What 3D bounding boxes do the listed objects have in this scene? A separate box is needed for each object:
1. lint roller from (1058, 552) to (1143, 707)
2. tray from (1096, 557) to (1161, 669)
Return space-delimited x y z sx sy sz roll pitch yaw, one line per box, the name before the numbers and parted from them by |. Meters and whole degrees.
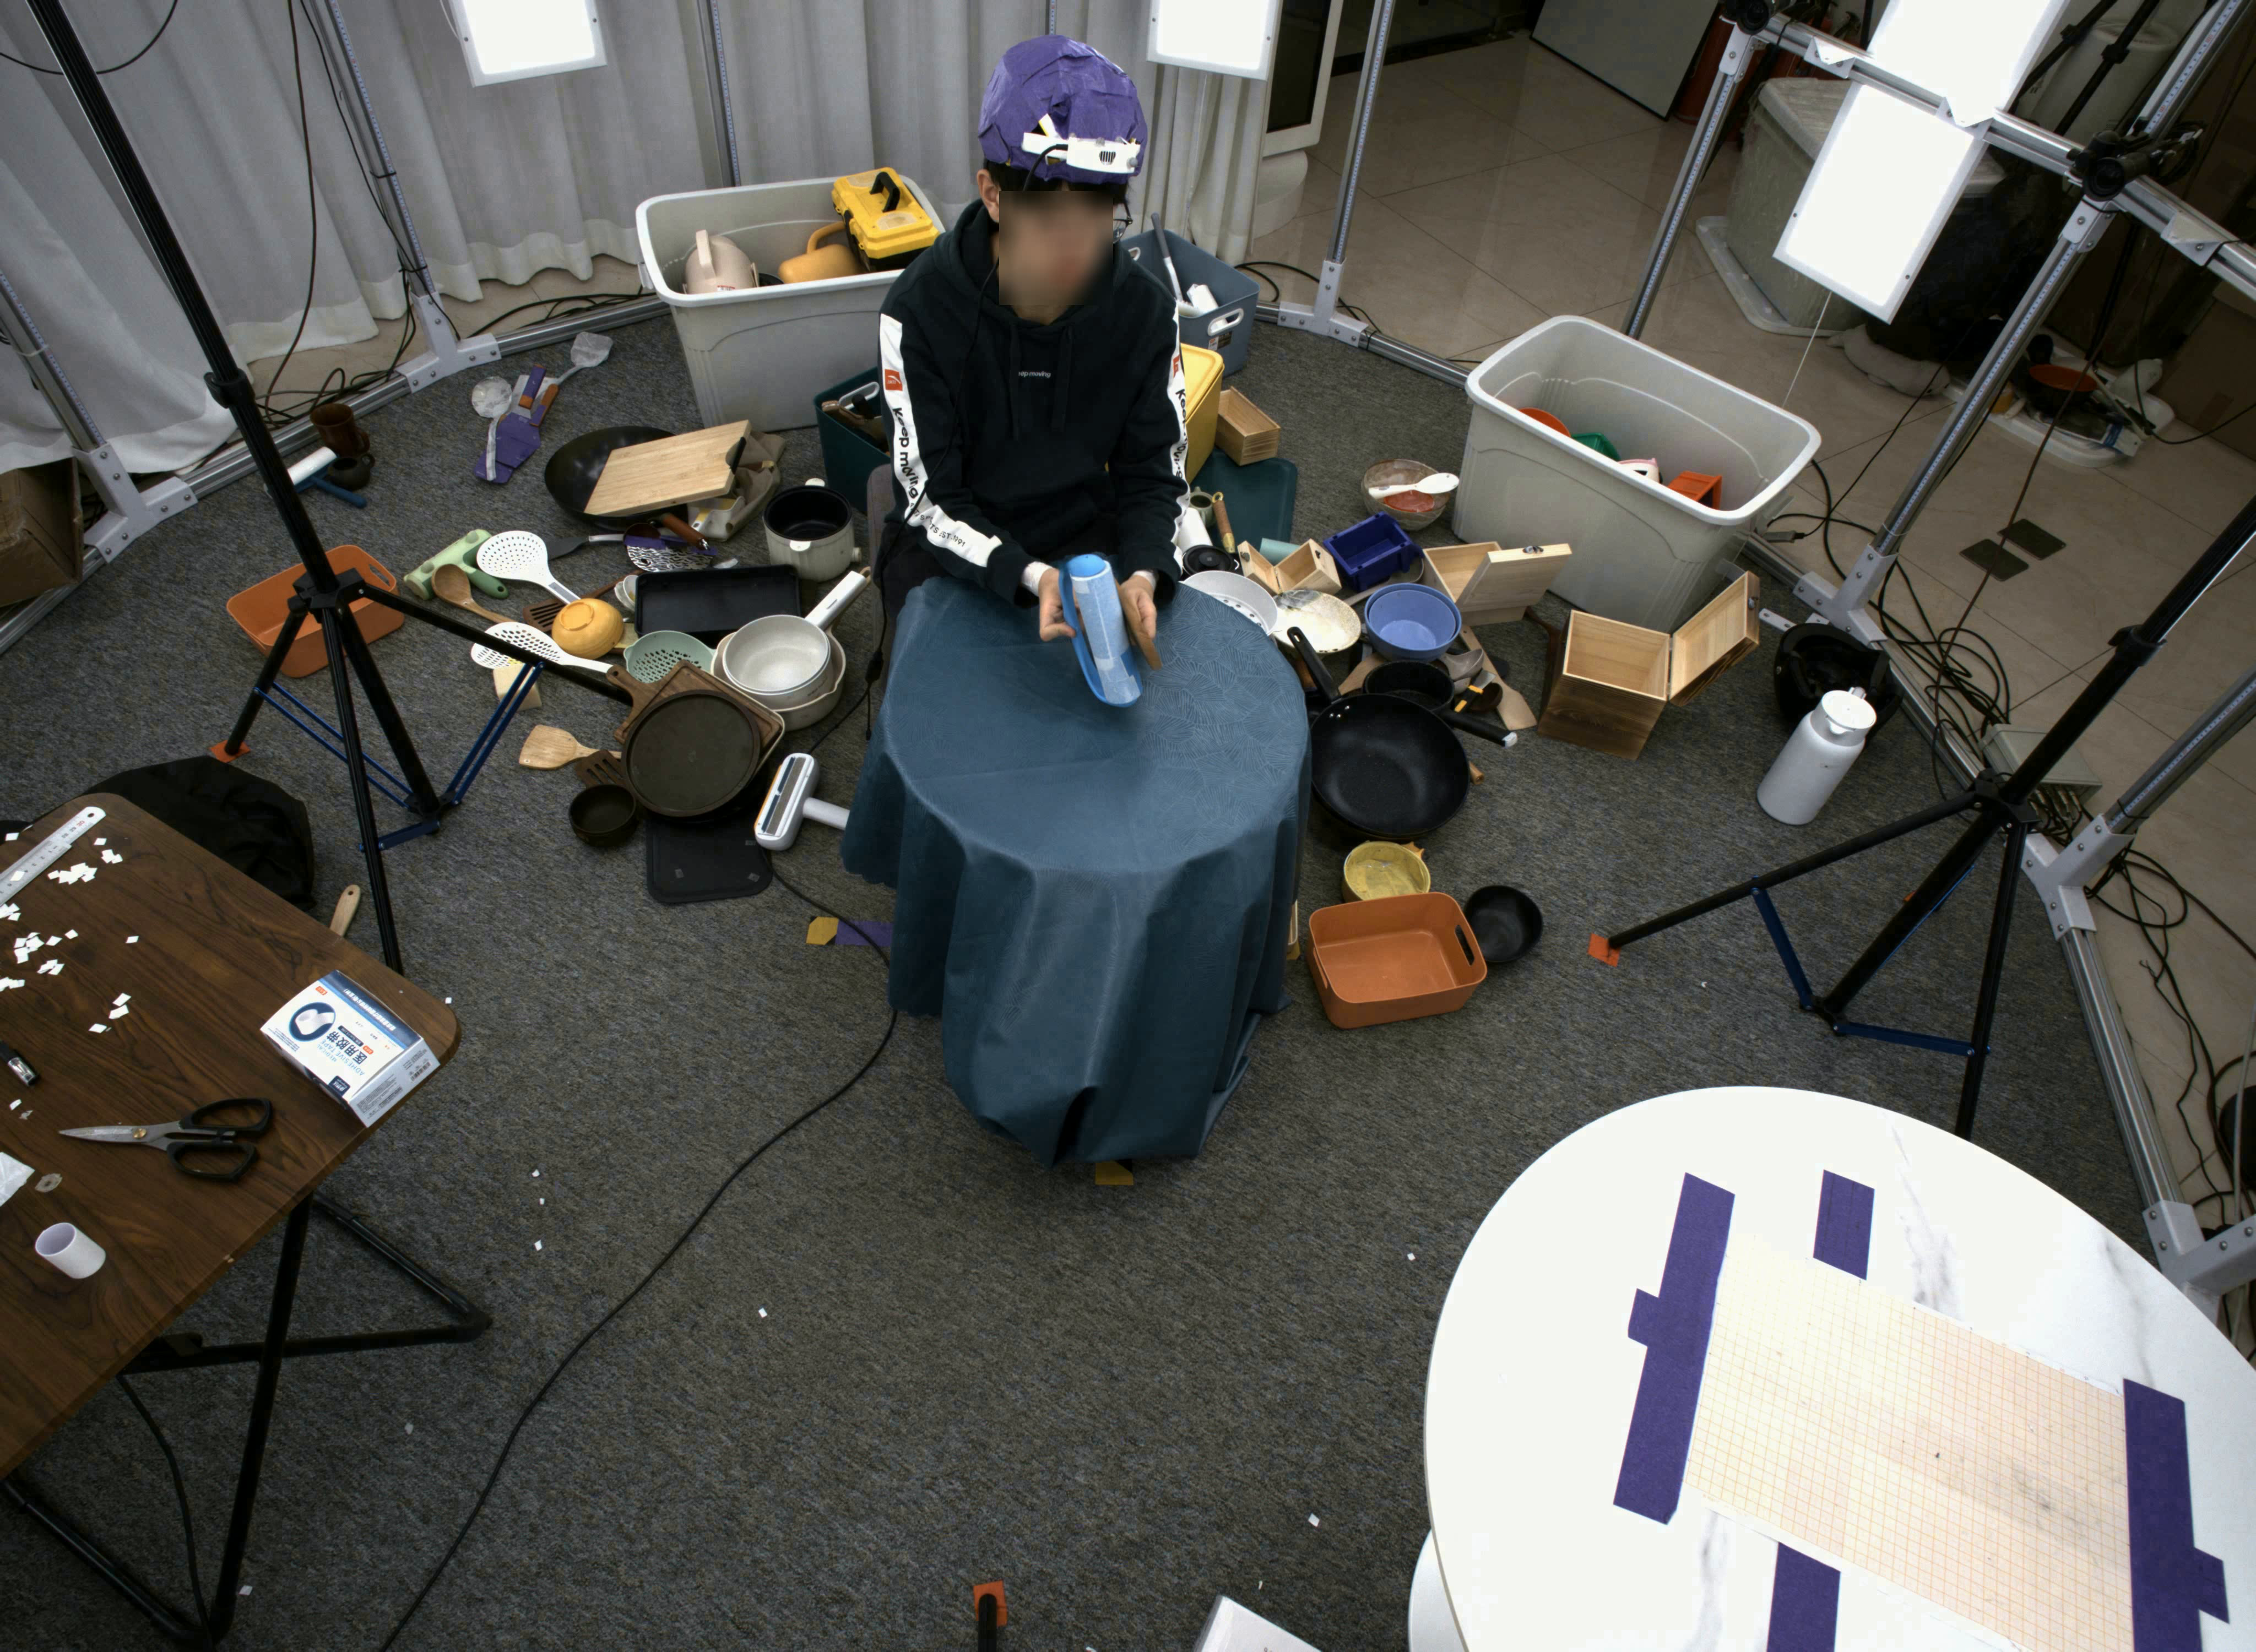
lint roller | -0.053 -0.282 1.750 0.068 0.224 0.184 -27 33 -12
tray | -0.004 -0.292 1.762 0.020 0.099 0.236 -27 39 -1
